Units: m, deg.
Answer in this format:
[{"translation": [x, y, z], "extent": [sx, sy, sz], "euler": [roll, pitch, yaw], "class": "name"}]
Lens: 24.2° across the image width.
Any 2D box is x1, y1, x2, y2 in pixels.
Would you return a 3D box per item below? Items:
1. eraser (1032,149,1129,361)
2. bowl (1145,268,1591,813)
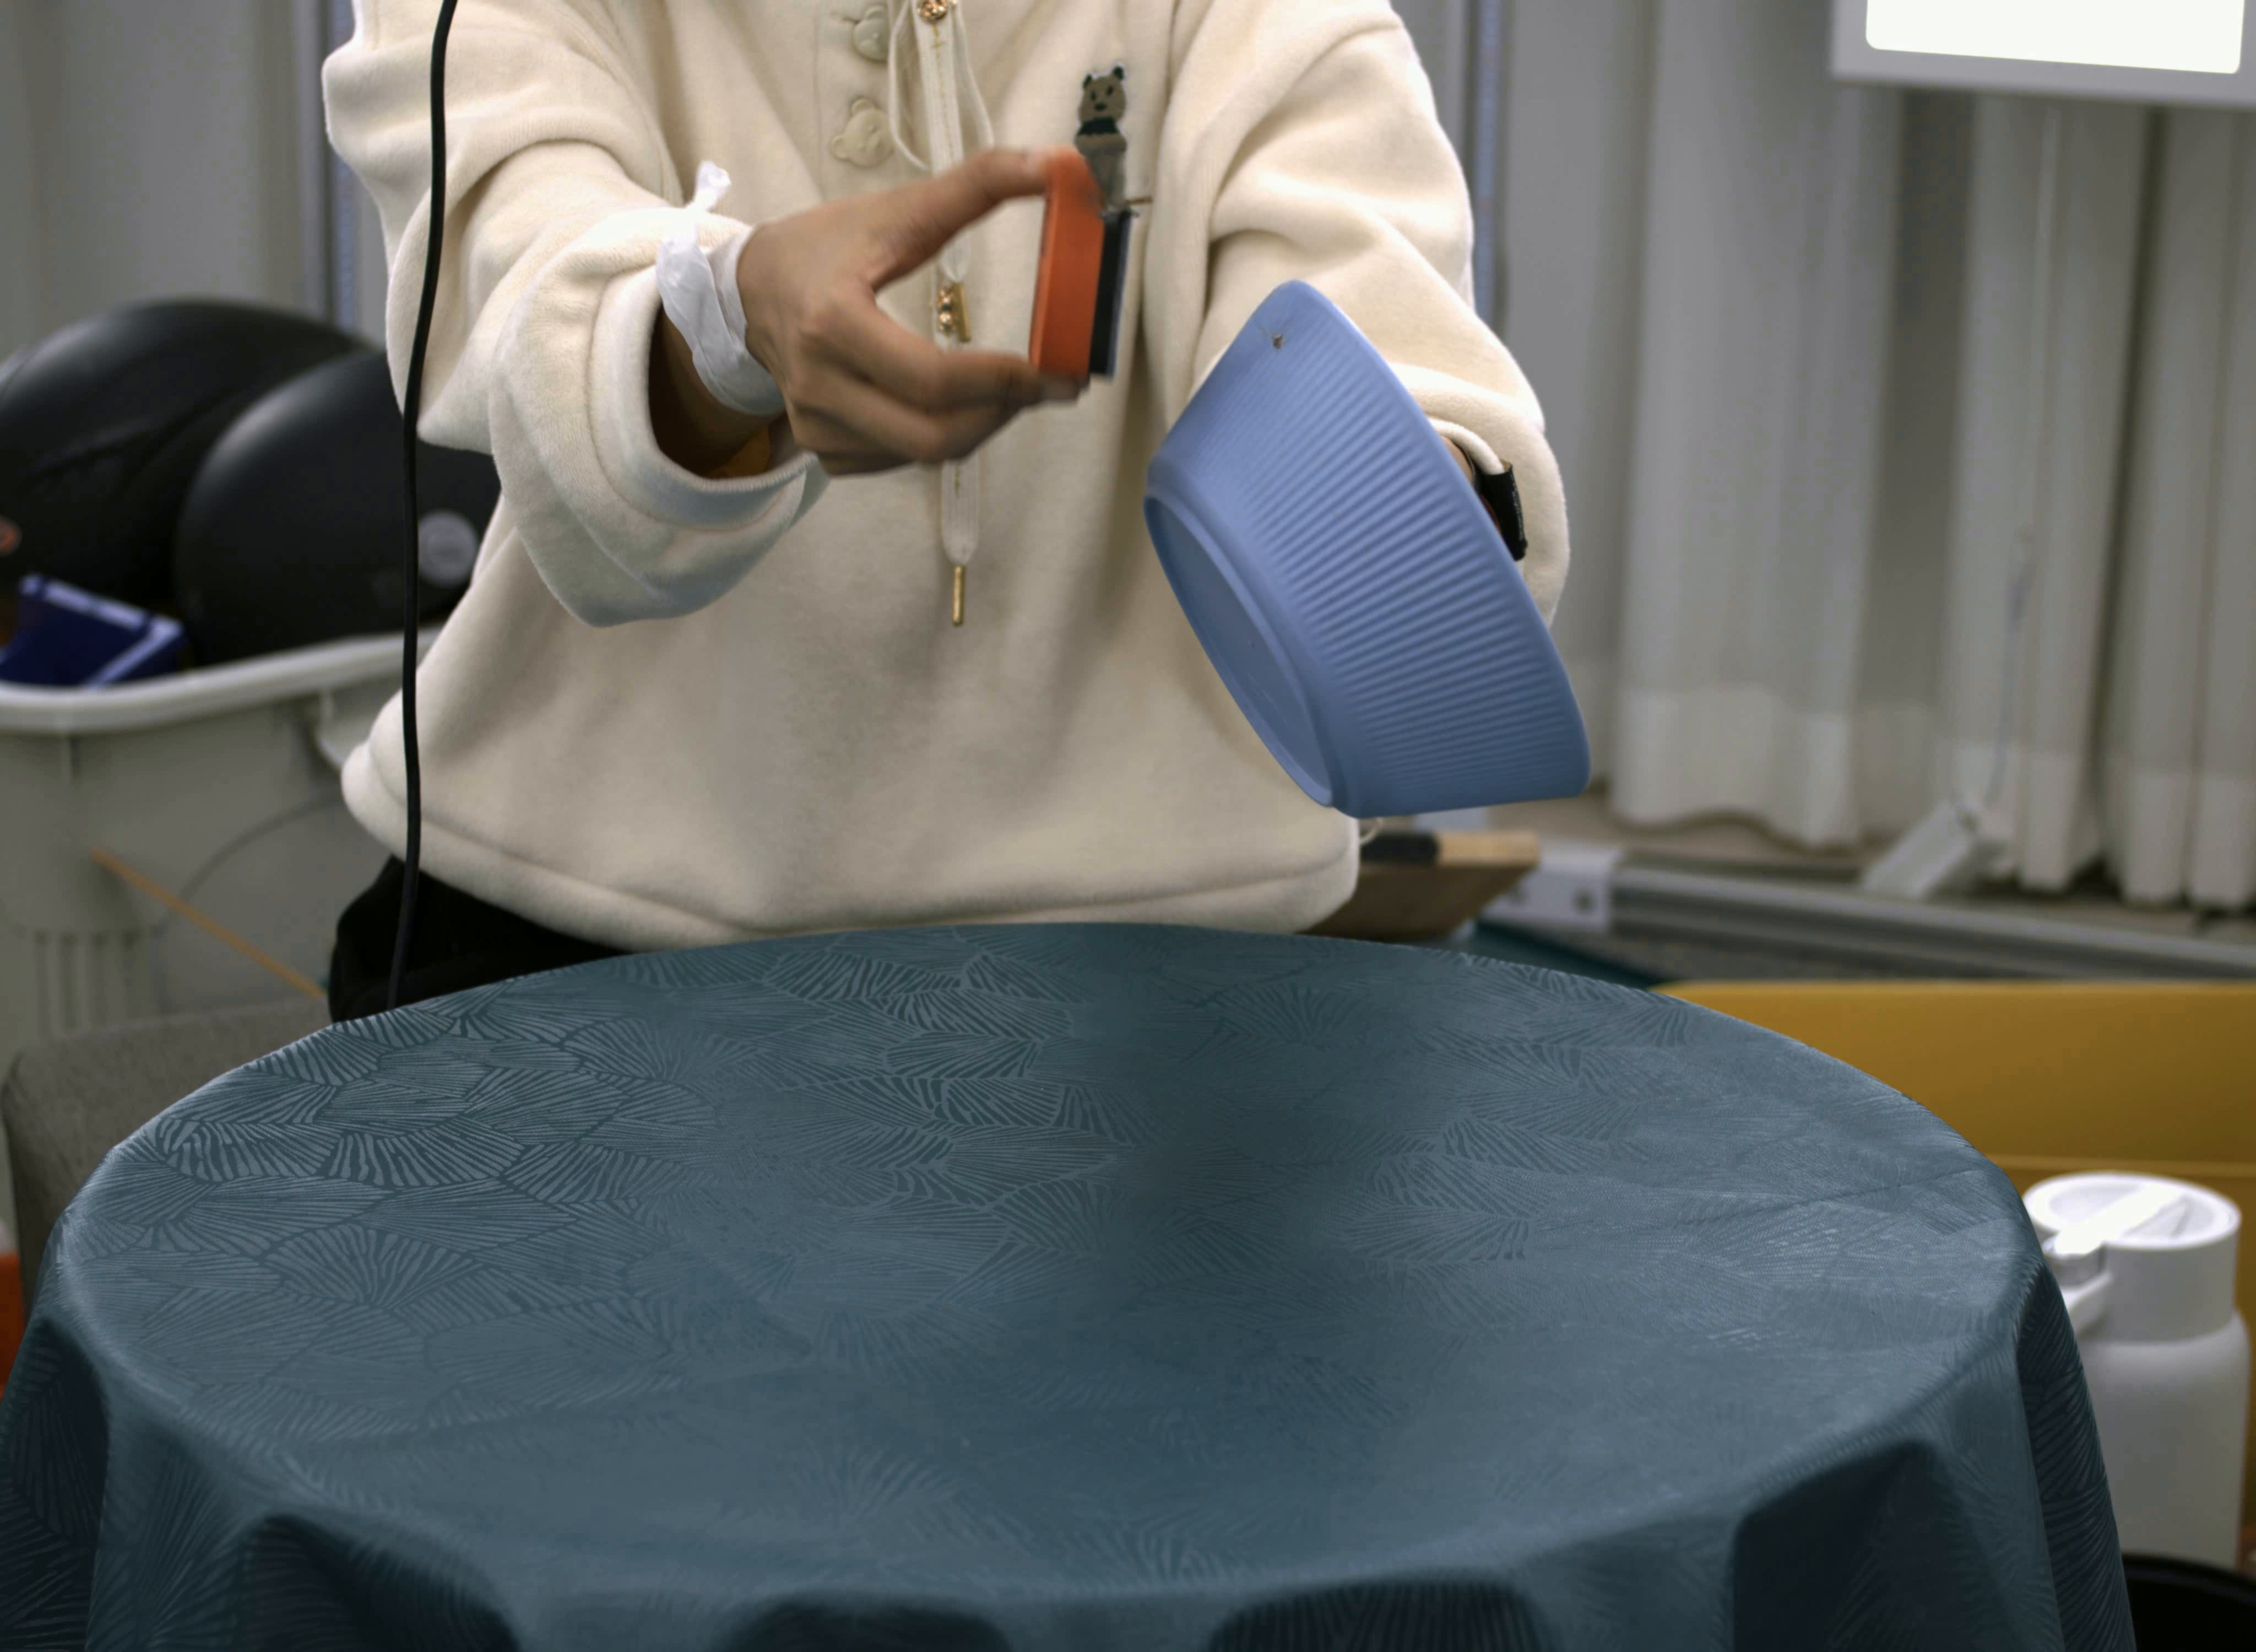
[{"translation": [-0.014, -0.165, 1.516], "extent": [0.023, 0.059, 0.107], "euler": [2, 8, -3], "class": "eraser"}, {"translation": [0.061, -0.070, 1.539], "extent": [0.070, 0.178, 0.174], "euler": [-31, 23, -8], "class": "bowl"}]
